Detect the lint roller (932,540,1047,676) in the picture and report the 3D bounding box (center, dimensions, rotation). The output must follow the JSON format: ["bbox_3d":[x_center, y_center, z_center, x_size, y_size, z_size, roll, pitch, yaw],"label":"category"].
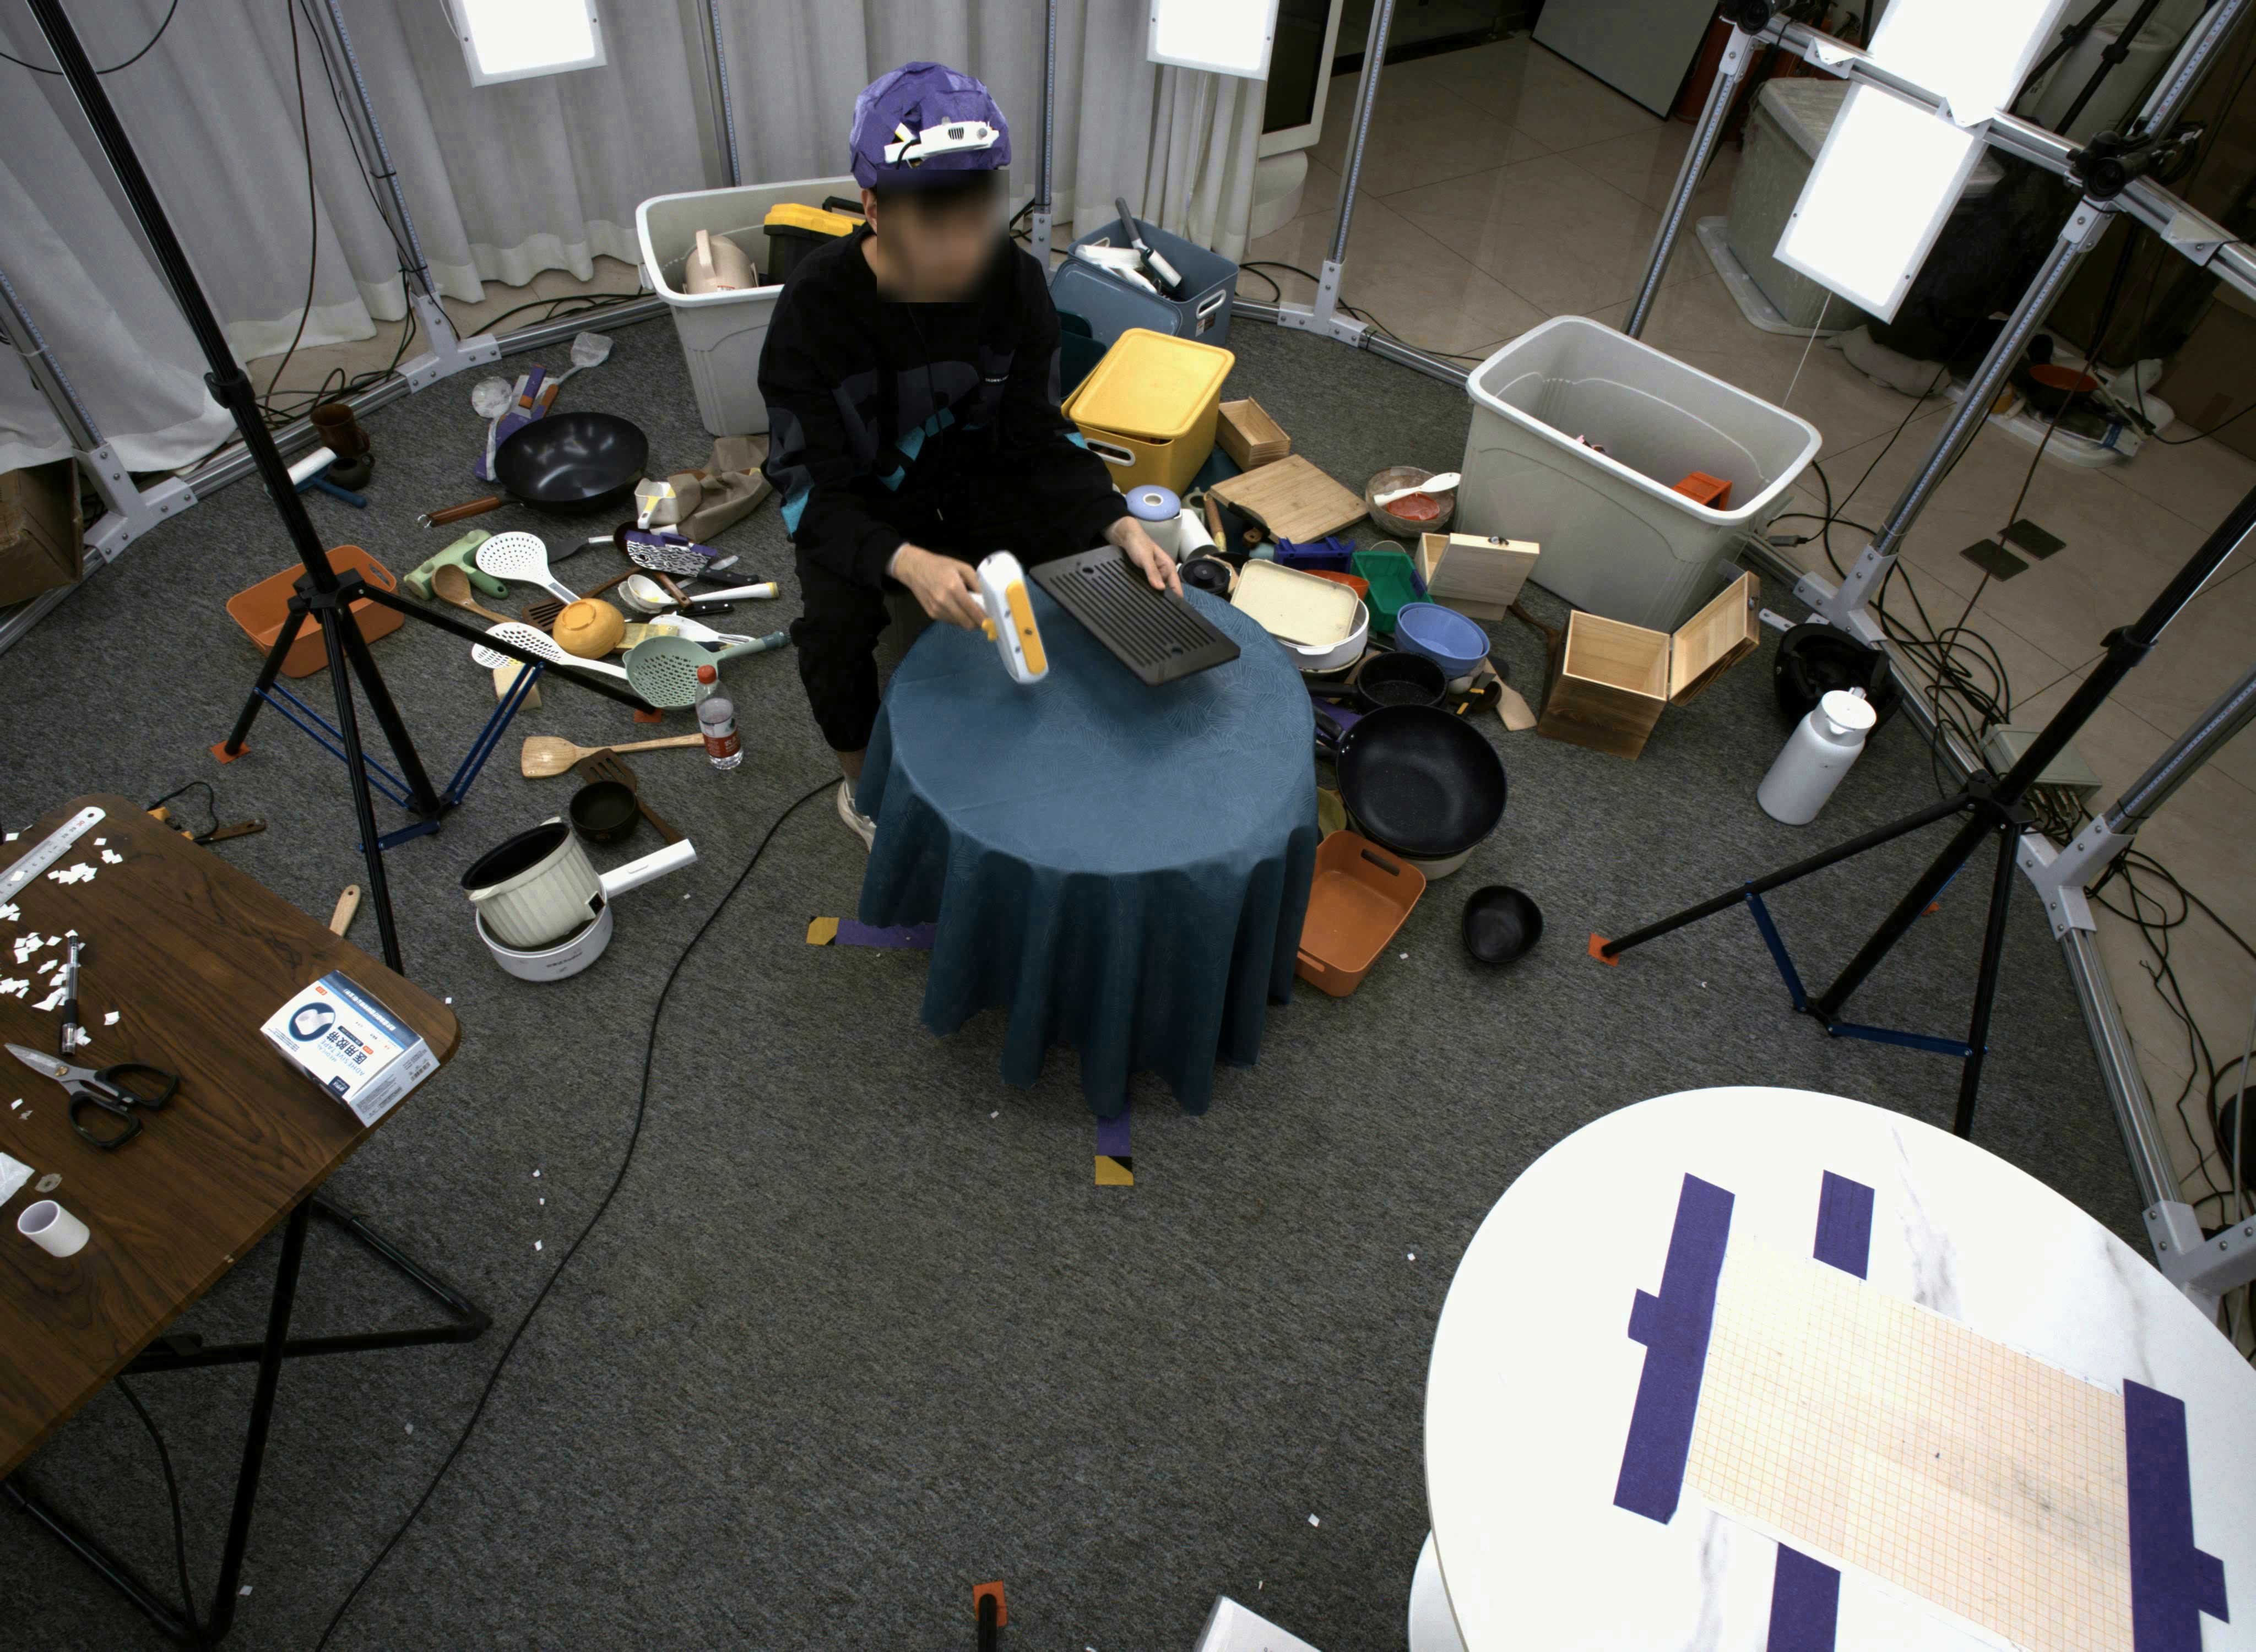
[{"bbox_3d":[-0.197,-0.307,1.774,0.075,0.188,0.195,-36,39,-22],"label":"lint roller"}]

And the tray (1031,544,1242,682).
[{"bbox_3d":[0.009,-0.310,1.847,0.171,0.018,0.312,-21,50,-31],"label":"tray"}]
